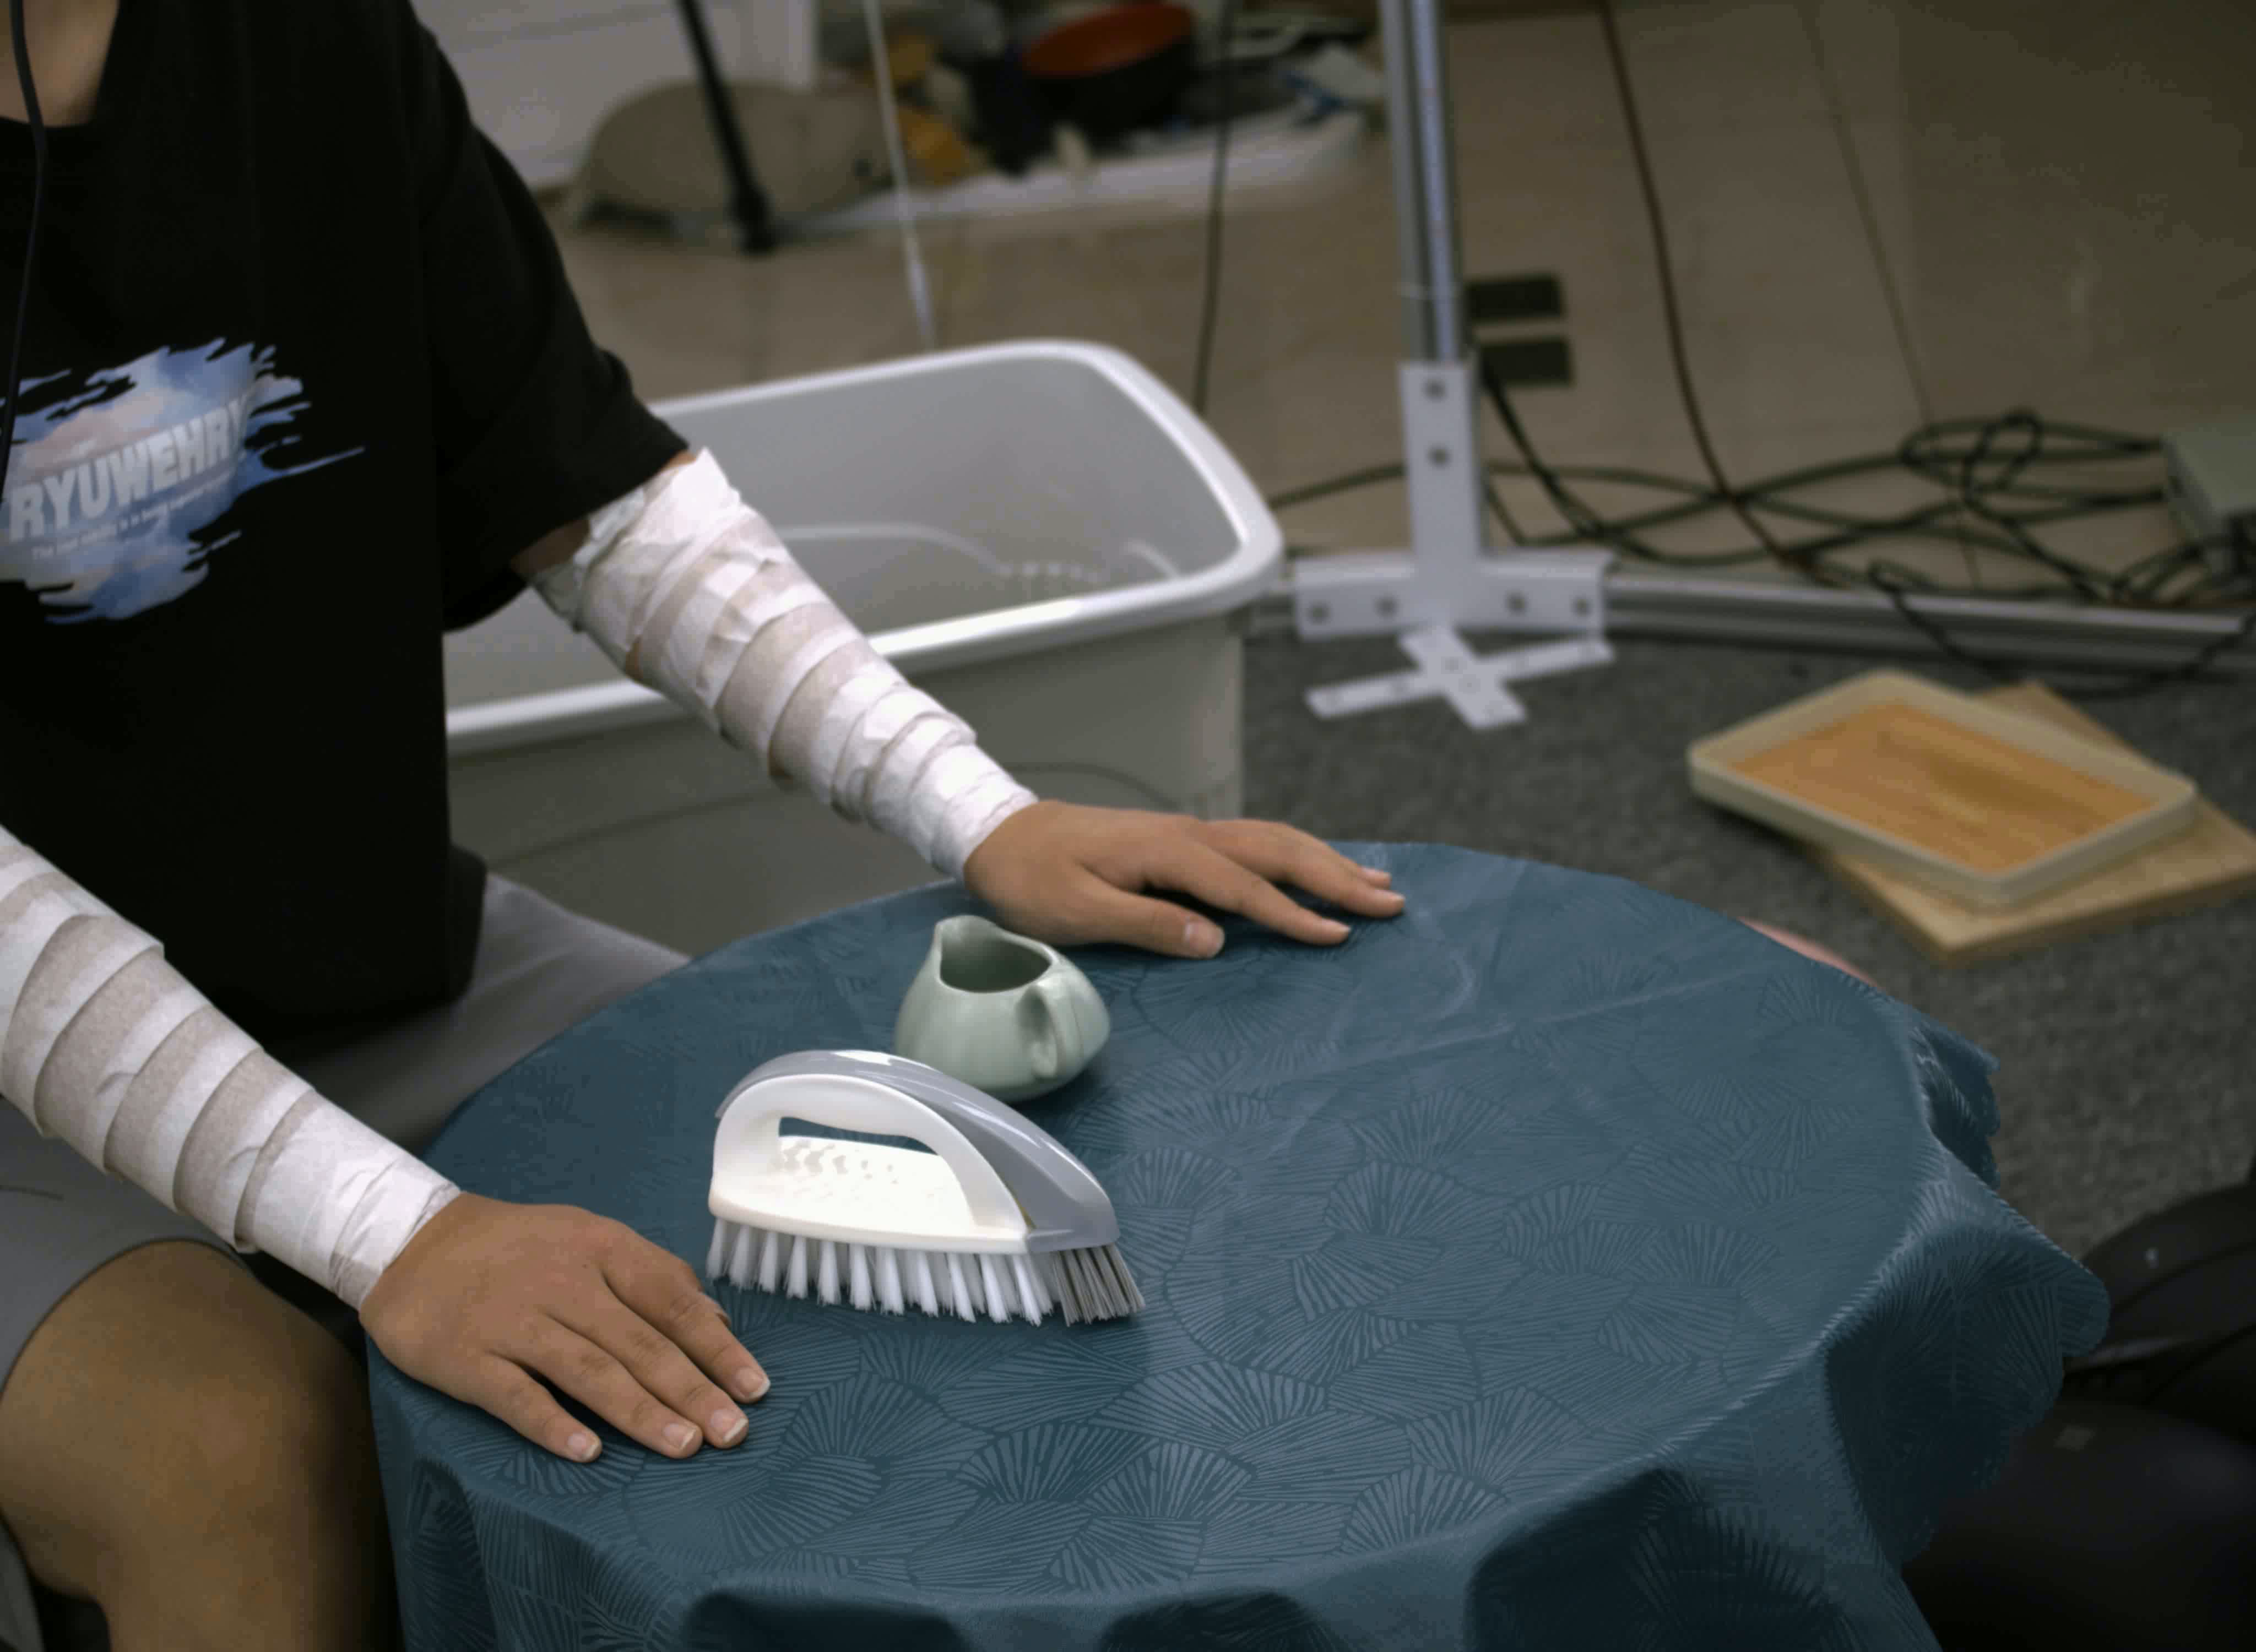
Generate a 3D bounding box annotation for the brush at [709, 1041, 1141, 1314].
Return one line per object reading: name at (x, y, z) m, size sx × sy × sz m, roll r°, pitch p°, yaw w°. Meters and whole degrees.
brush at (-0.077, 0.126, 2.085) m, size 0.174 × 0.096 × 0.060 m, roll 10°, pitch 35°, yaw 28°

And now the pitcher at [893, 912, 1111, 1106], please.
pitcher at (-0.044, 0.078, 2.225) m, size 0.085 × 0.061 × 0.107 m, roll -20°, pitch 30°, yaw -25°
